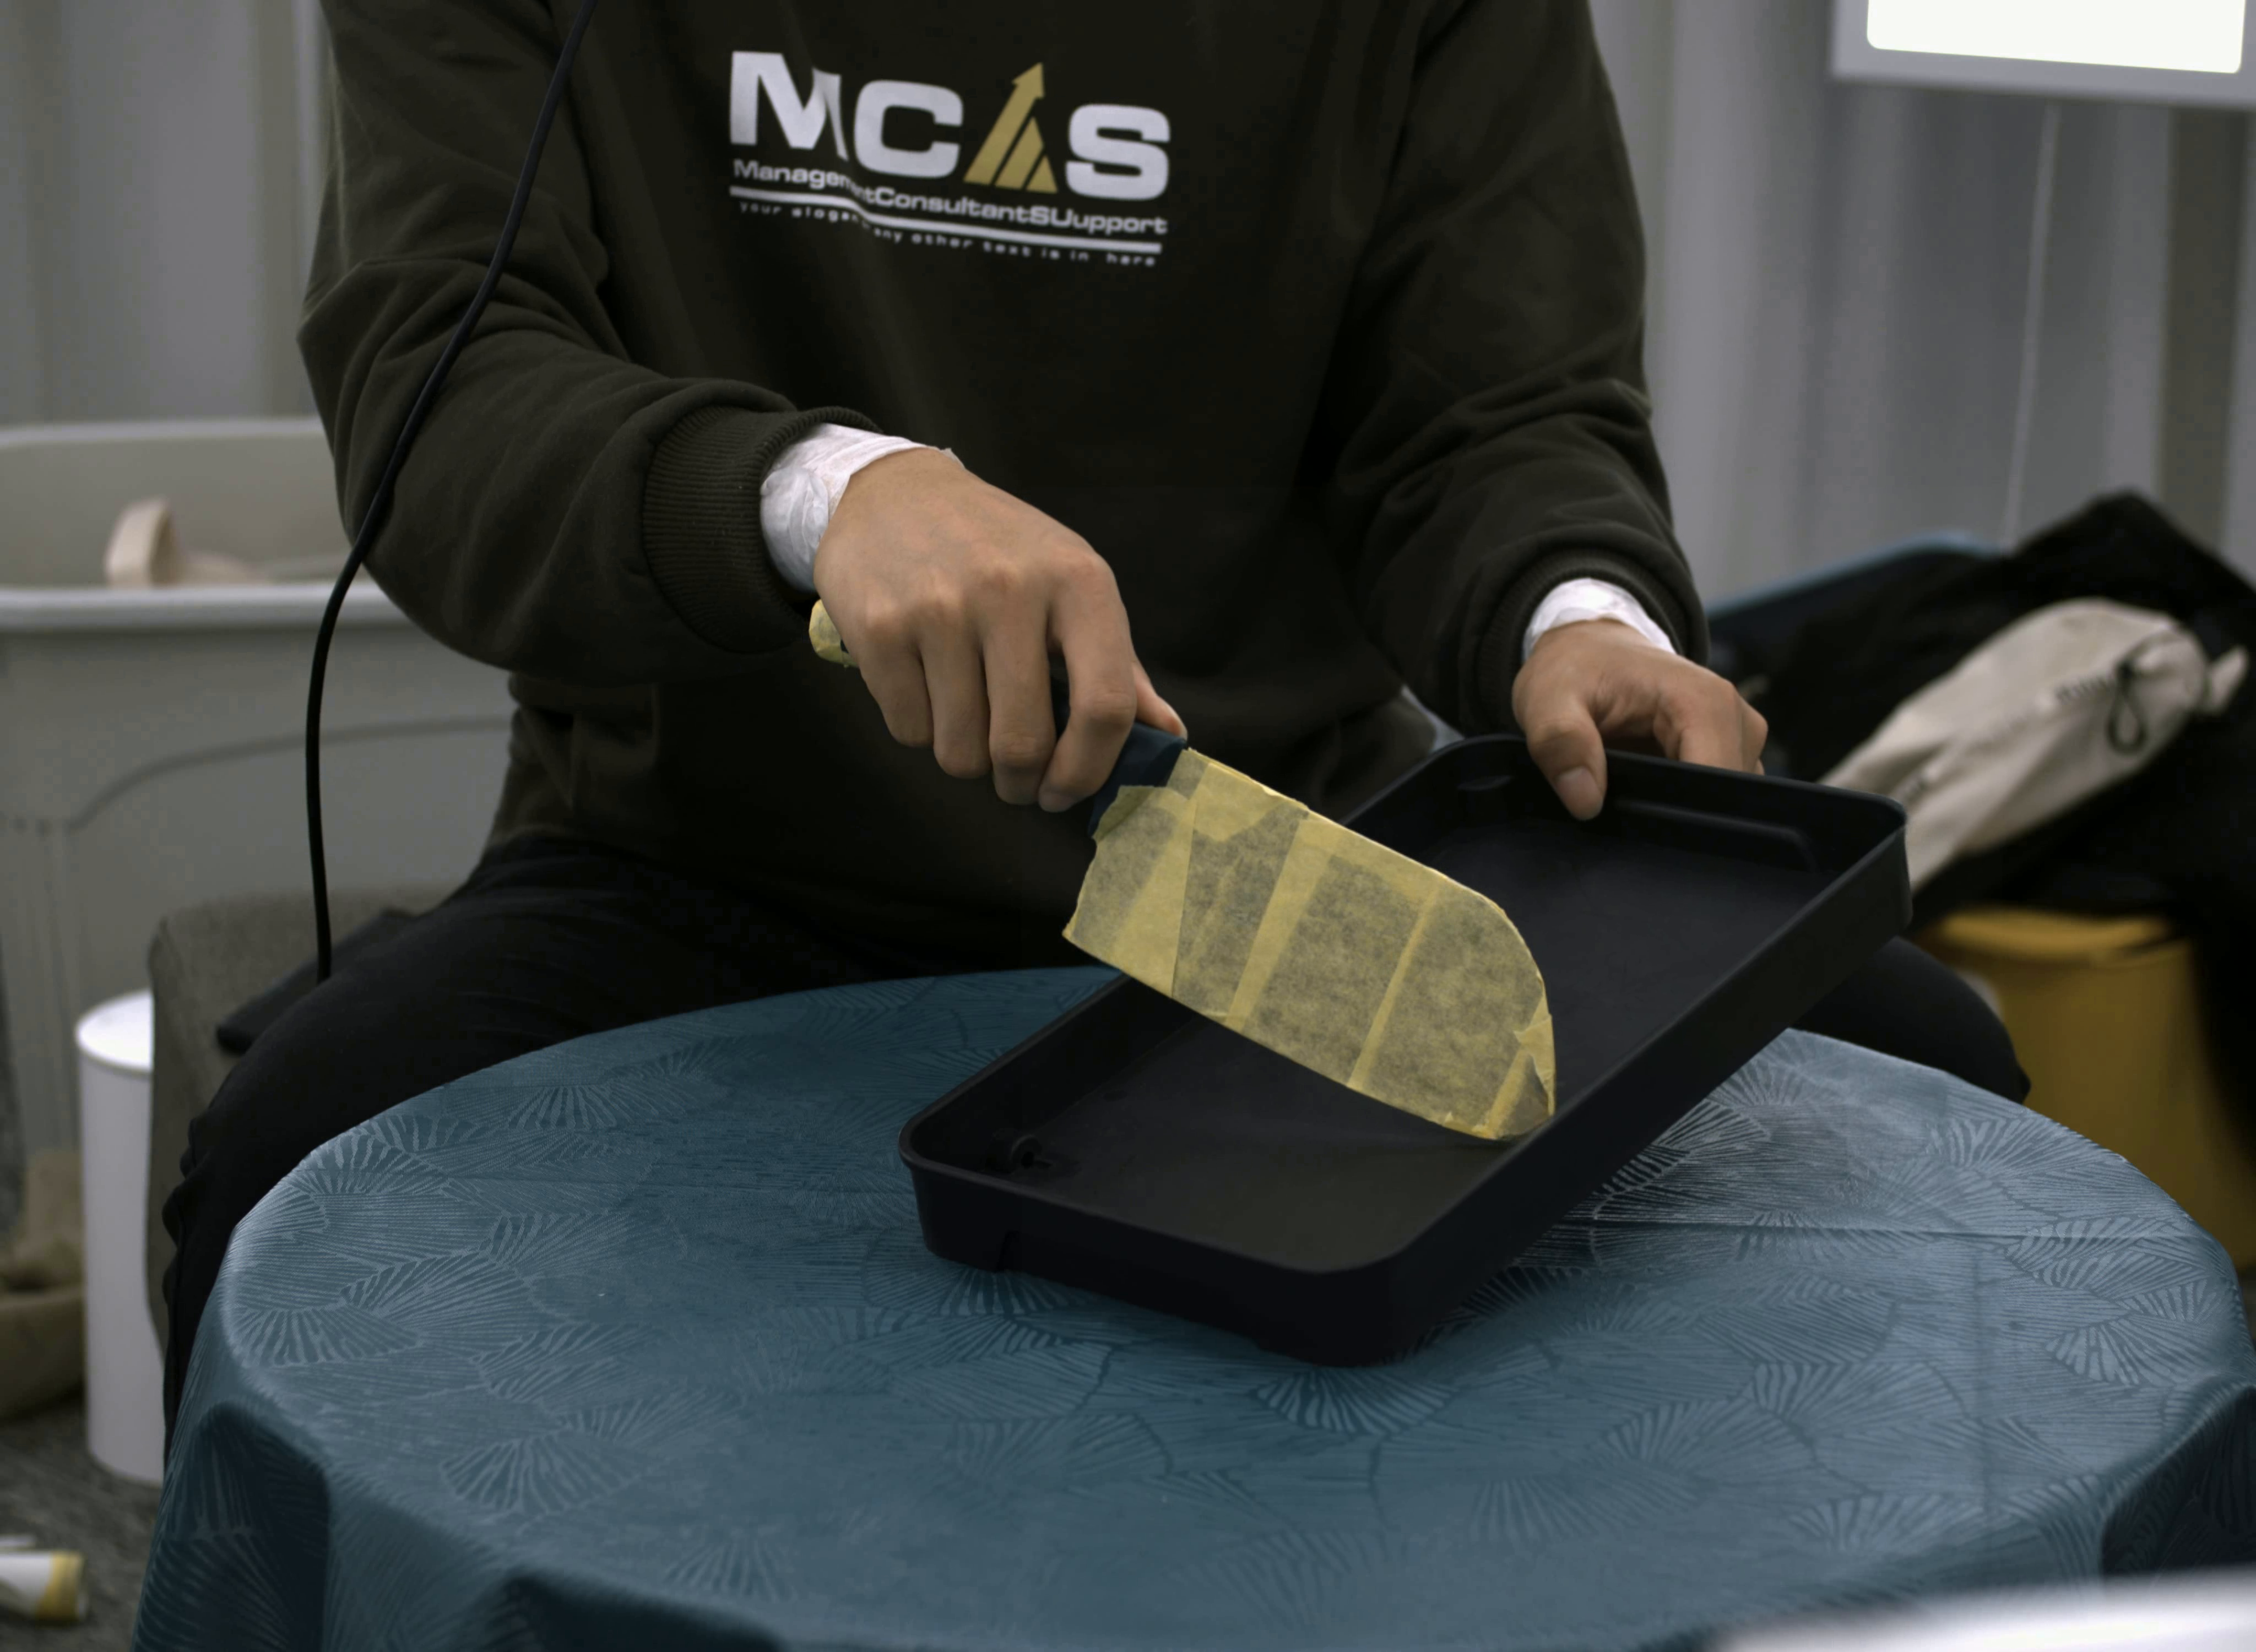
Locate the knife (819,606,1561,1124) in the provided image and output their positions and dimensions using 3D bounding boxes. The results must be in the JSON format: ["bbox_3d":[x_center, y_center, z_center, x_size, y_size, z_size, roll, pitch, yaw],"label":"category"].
[{"bbox_3d":[0.014,0.010,1.618,0.286,0.081,0.027,30,12,23],"label":"knife"}]

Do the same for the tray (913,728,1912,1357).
[{"bbox_3d":[0.095,0.058,1.625,0.182,0.037,0.318,10,31,36],"label":"tray"}]
